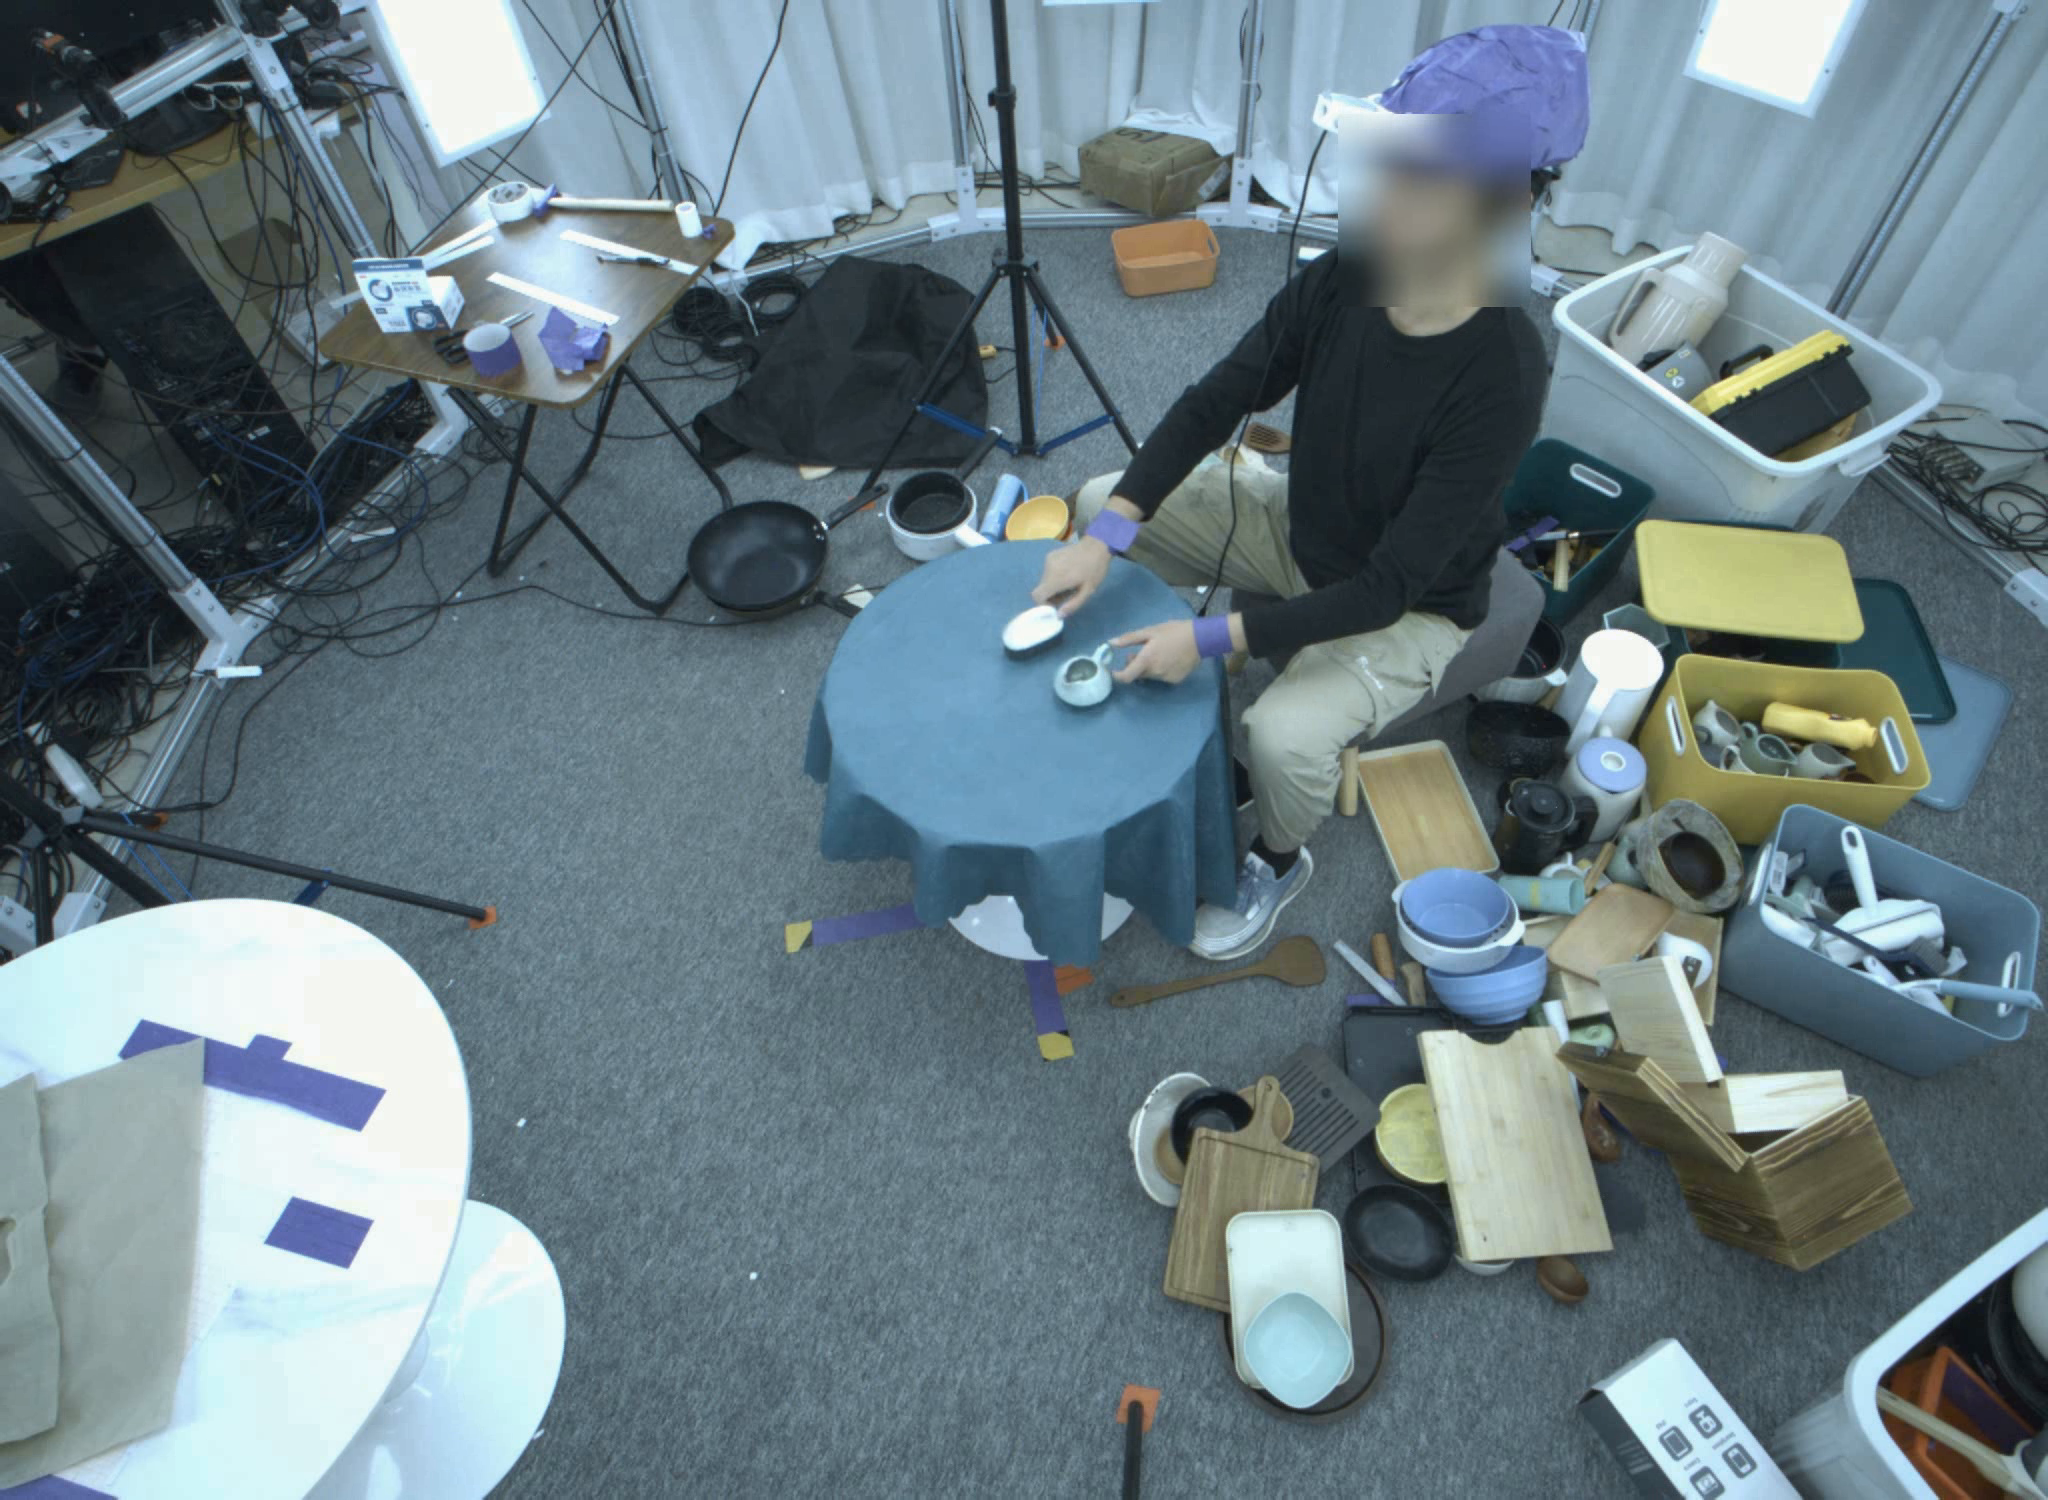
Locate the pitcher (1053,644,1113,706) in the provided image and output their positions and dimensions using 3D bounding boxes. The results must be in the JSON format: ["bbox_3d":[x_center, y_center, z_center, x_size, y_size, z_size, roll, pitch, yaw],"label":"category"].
[{"bbox_3d":[0.094,-0.113,1.833,0.084,0.061,0.109,34,60,23],"label":"pitcher"}]

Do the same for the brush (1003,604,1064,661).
[{"bbox_3d":[0.014,-0.187,1.877,0.100,0.073,0.049,-24,58,-13],"label":"brush"}]
